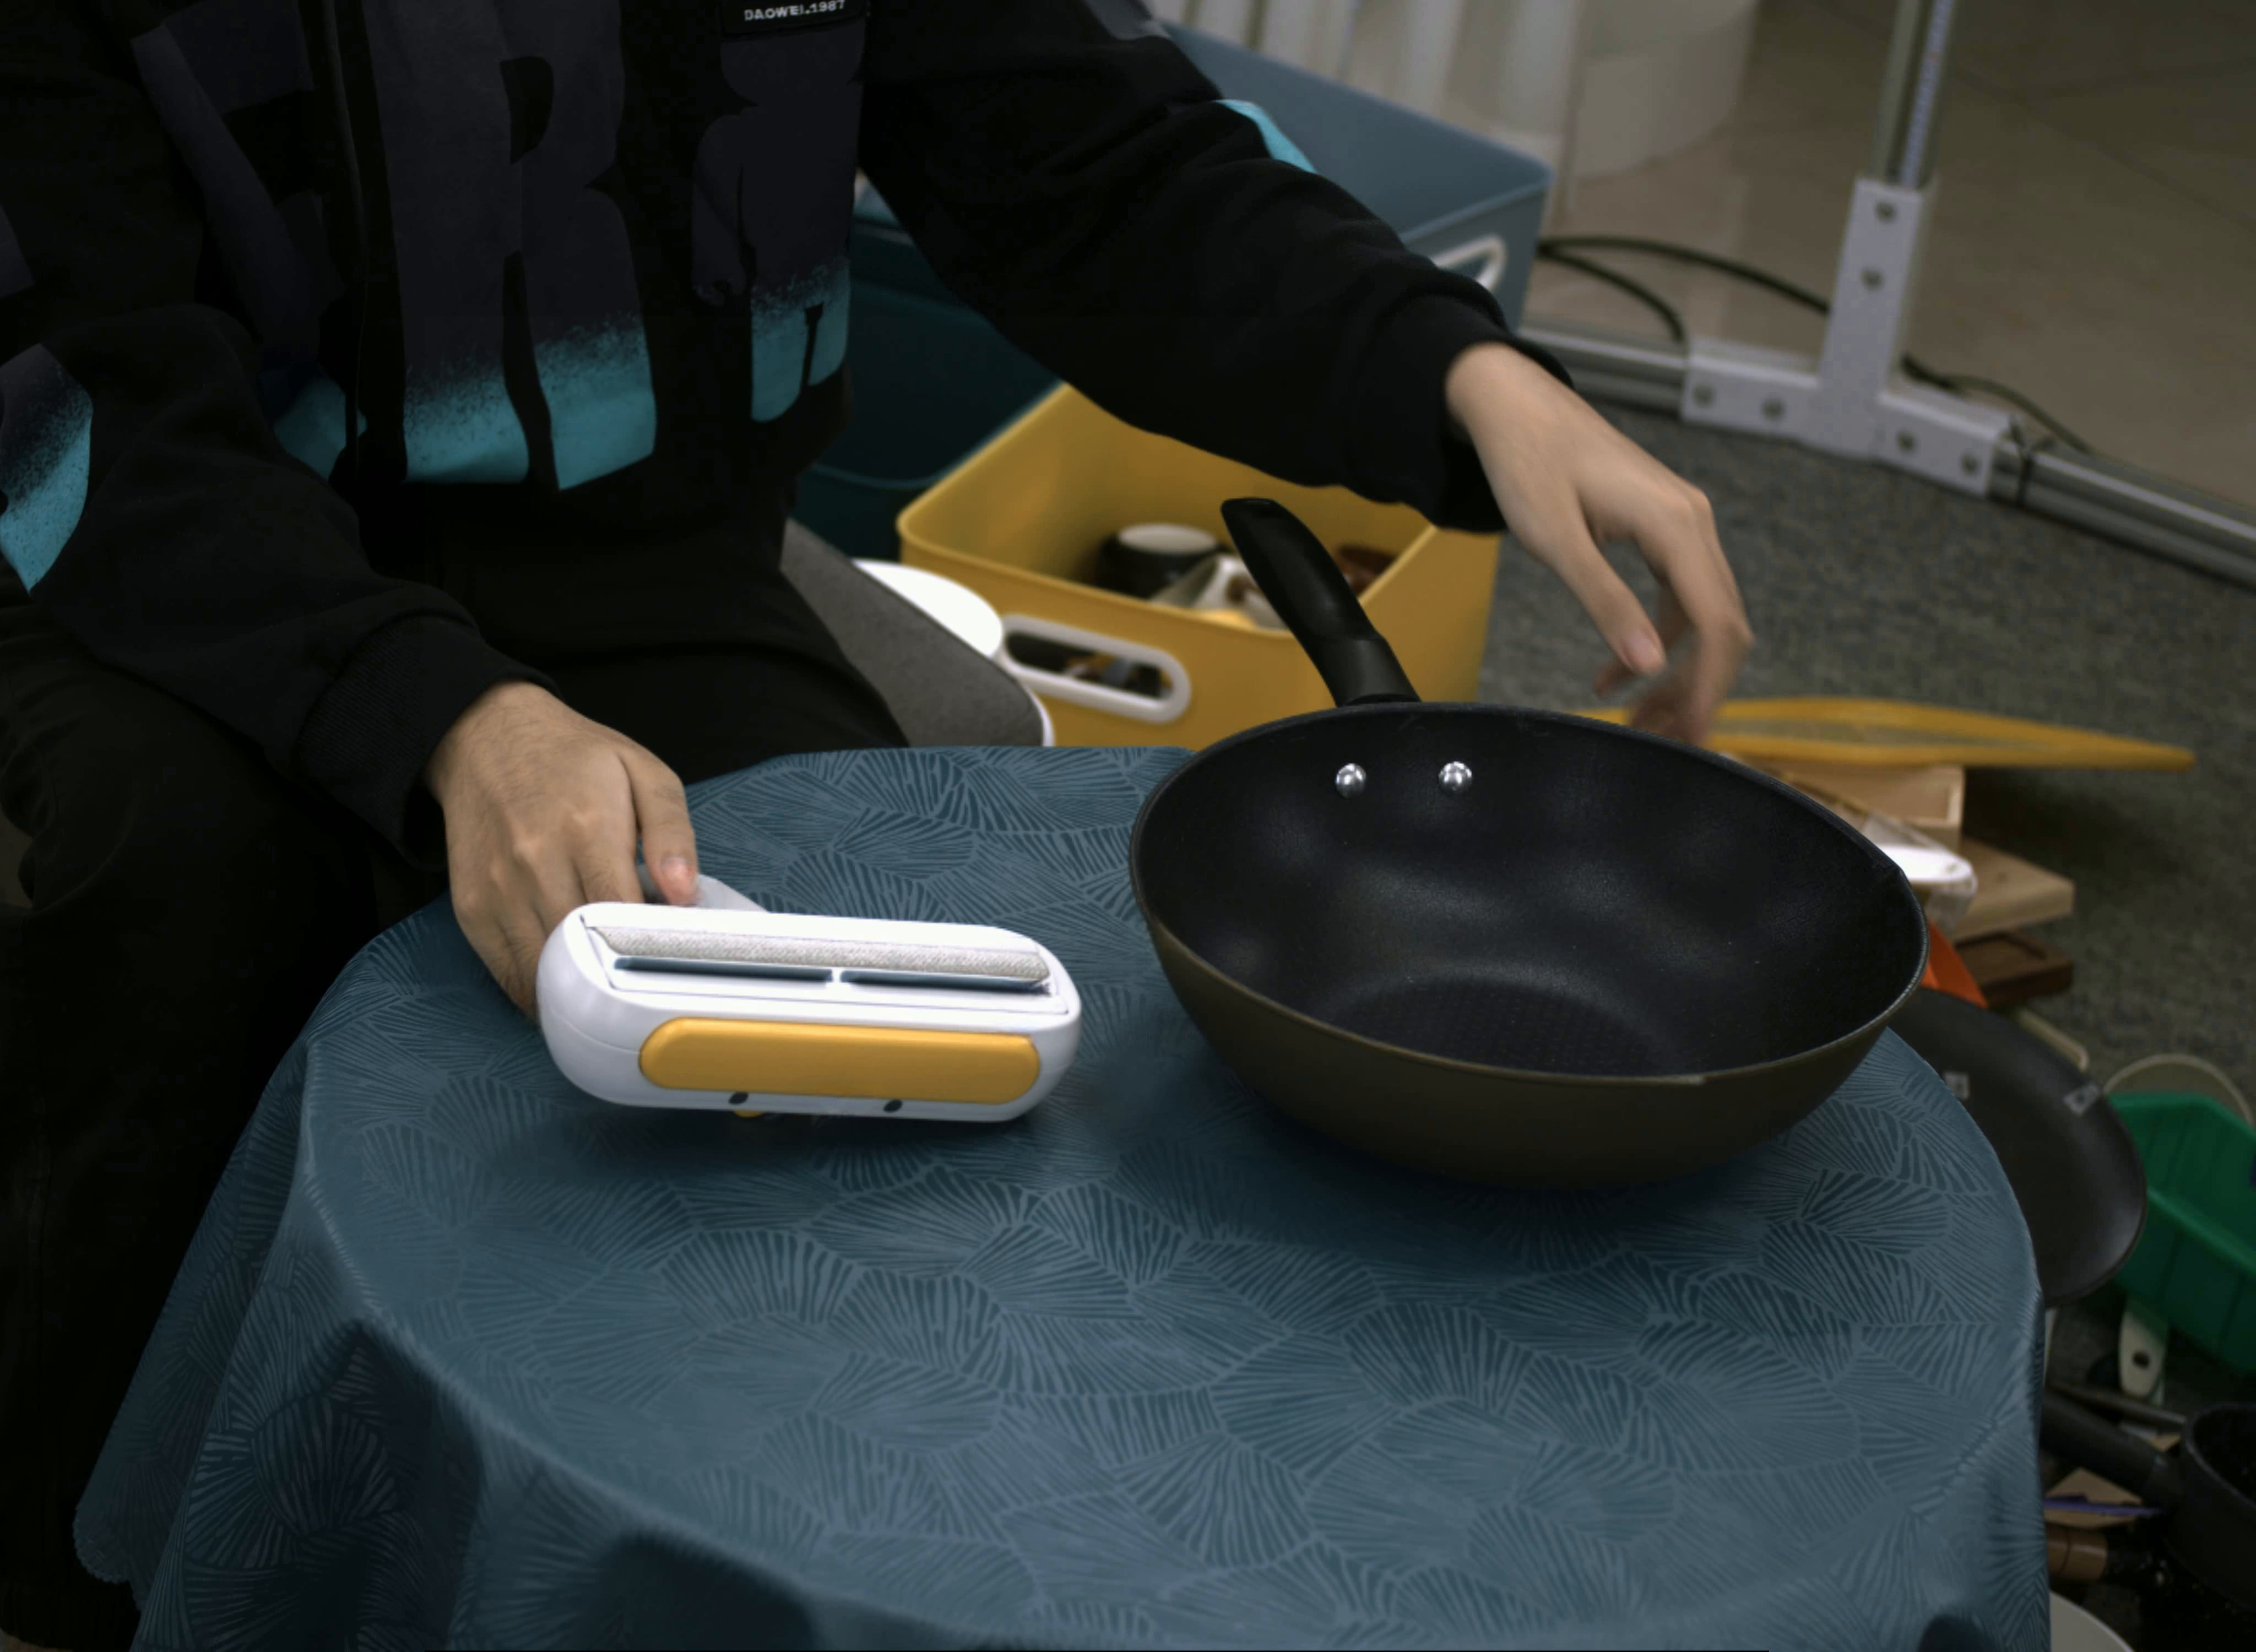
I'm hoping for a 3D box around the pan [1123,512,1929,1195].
[{"bbox_3d":[0.109,0.012,1.951,0.286,0.086,0.467,-3,28,-17],"label":"pan"}]

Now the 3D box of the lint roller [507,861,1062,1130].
[{"bbox_3d":[-0.135,0.045,1.850,0.191,0.074,0.194,2,25,-21],"label":"lint roller"}]
